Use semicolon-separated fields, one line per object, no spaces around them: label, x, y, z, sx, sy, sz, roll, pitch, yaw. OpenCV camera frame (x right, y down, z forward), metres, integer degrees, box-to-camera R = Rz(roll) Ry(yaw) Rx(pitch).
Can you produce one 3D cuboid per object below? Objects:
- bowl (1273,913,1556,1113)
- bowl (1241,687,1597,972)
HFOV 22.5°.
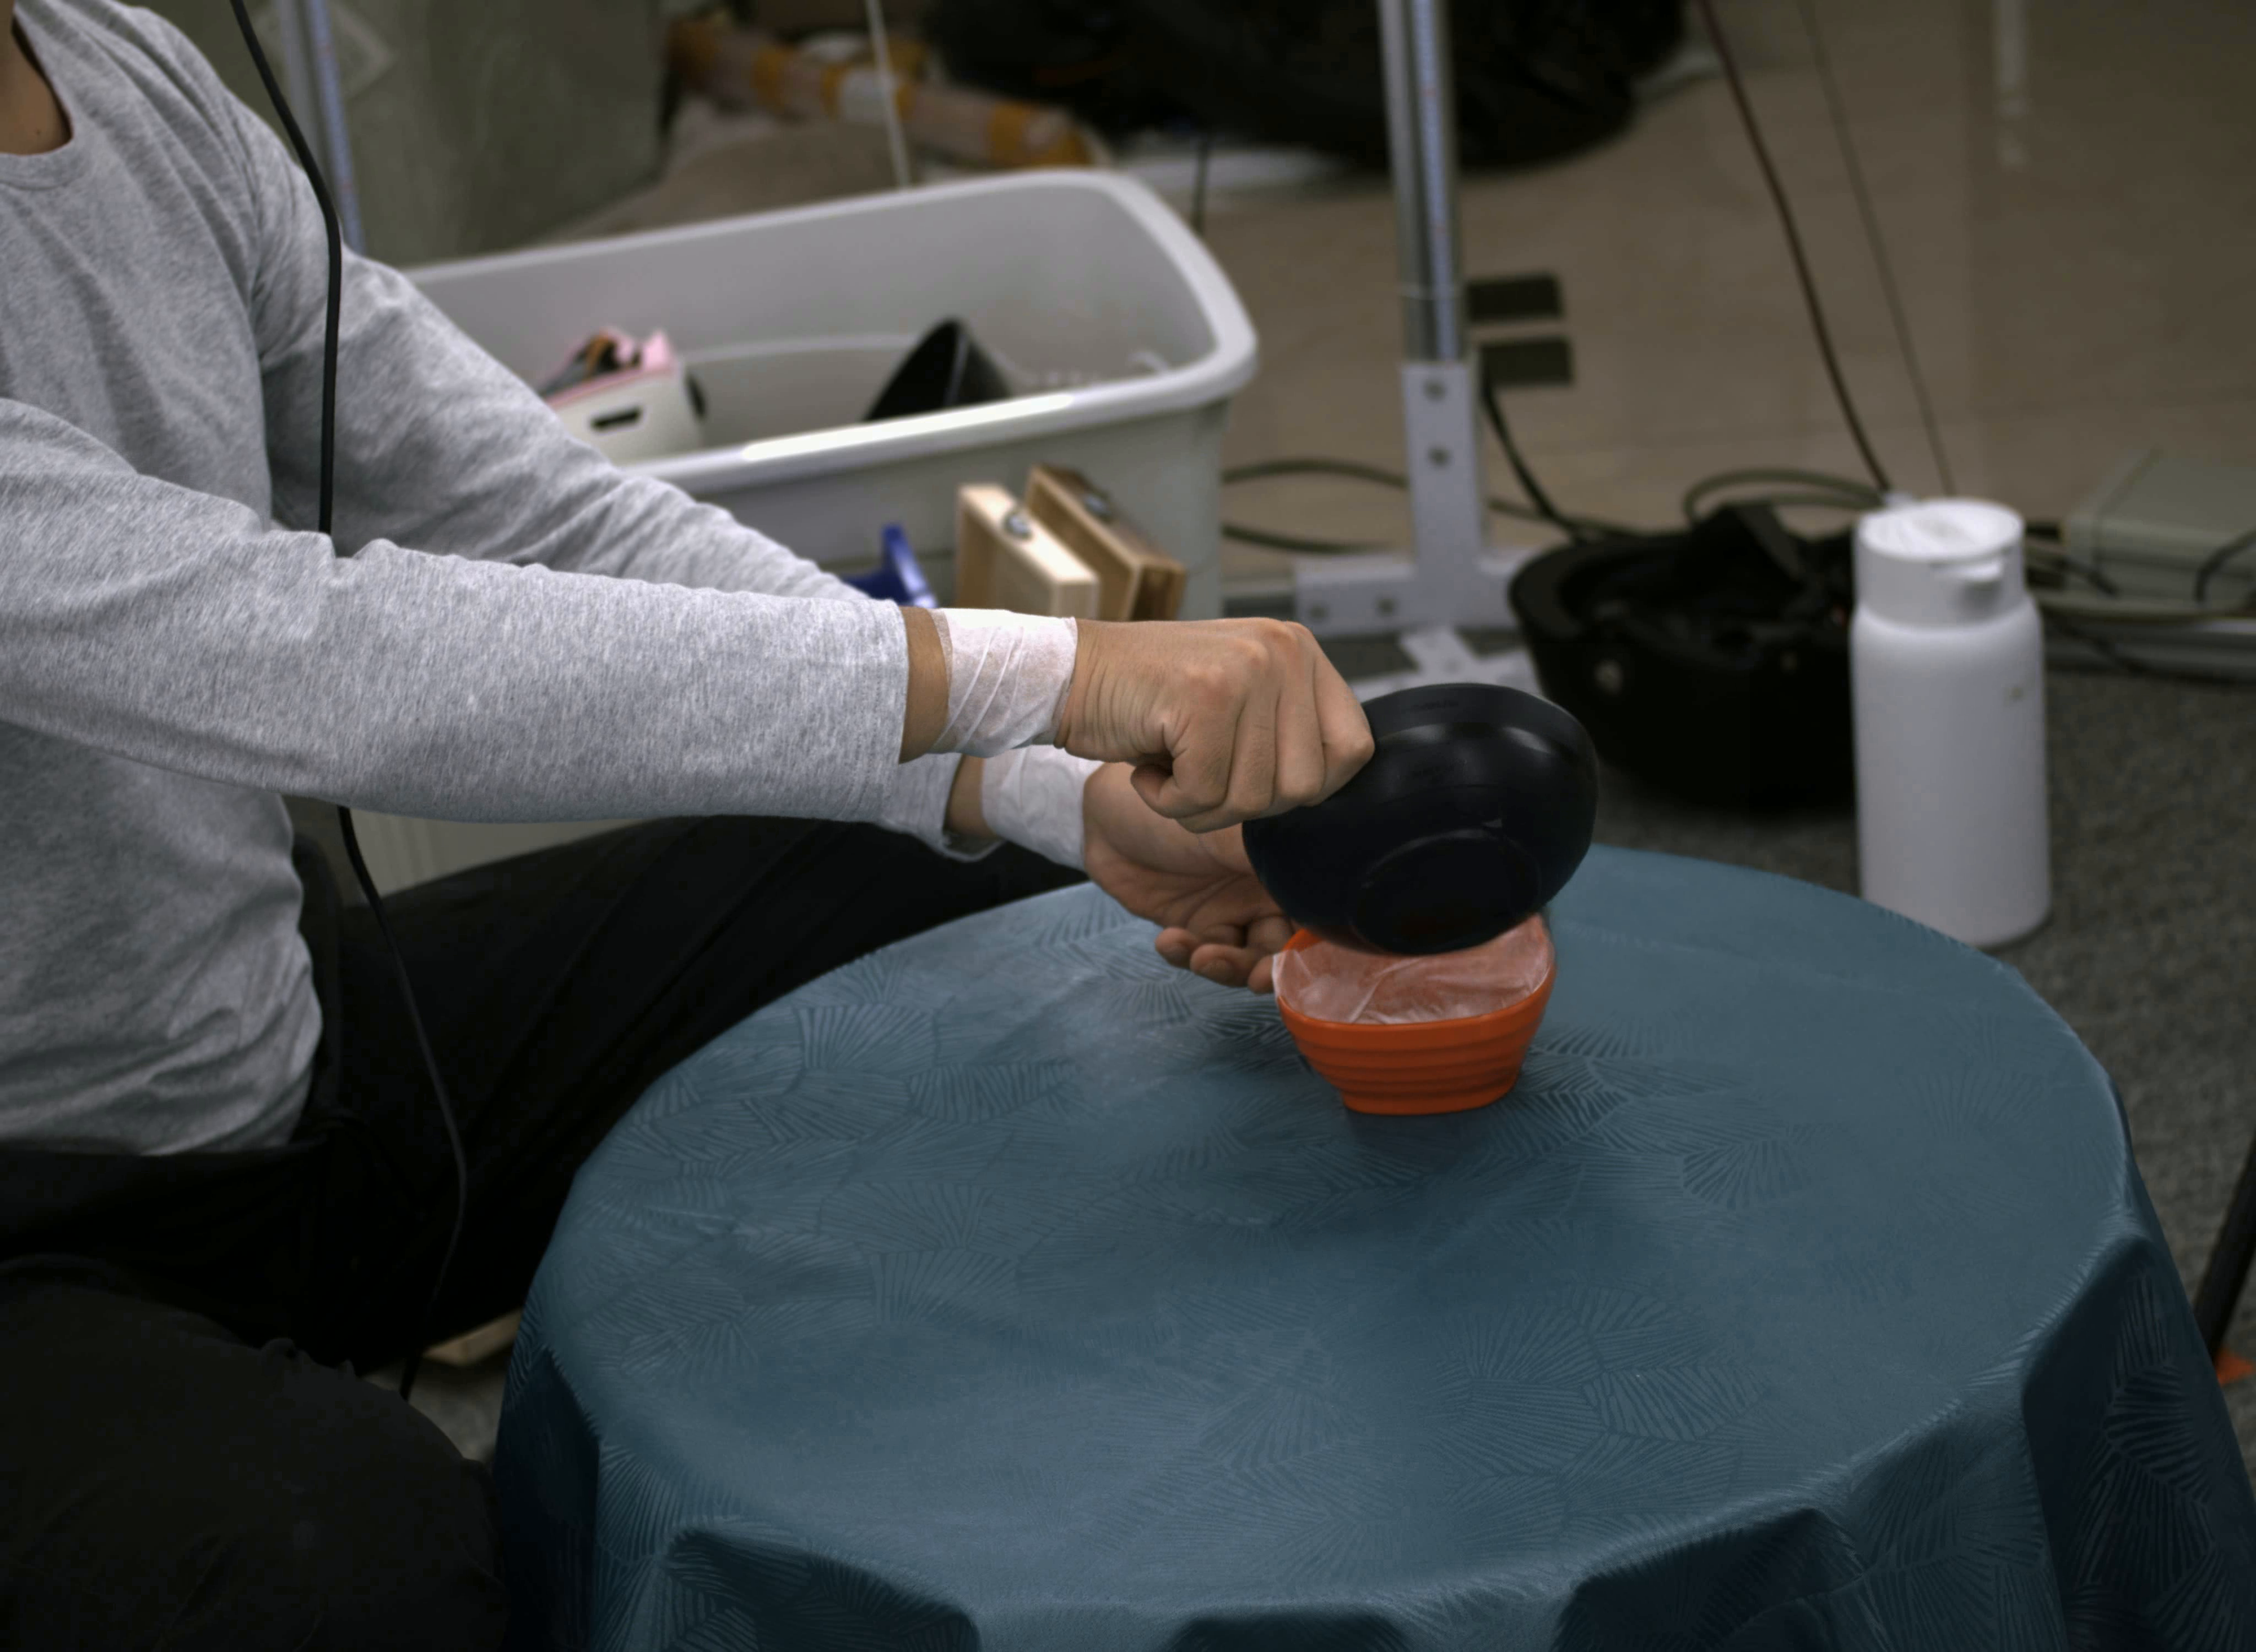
bowl;0.112;0.073;2.202;0.119;0.052;0.117;-4;27;2
bowl;0.115;0.012;2.130;0.139;0.143;0.049;-11;52;-10
